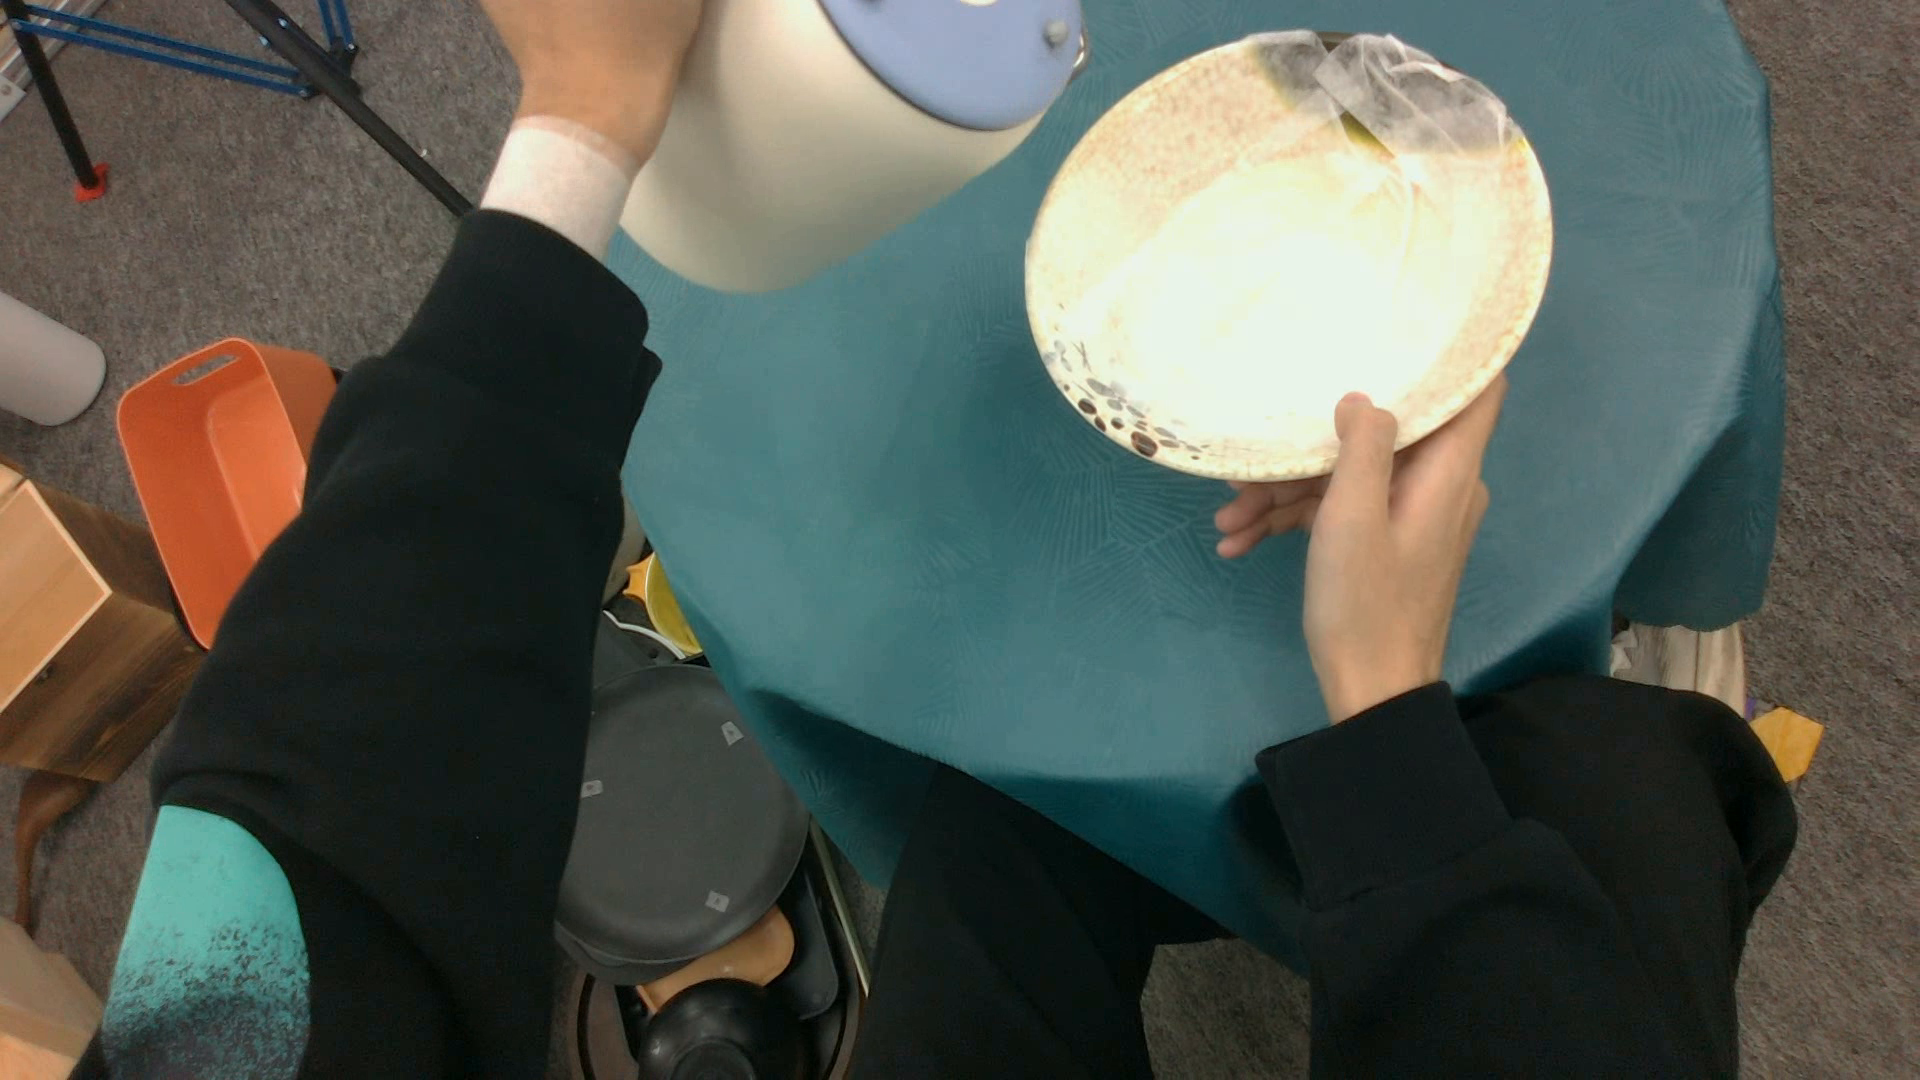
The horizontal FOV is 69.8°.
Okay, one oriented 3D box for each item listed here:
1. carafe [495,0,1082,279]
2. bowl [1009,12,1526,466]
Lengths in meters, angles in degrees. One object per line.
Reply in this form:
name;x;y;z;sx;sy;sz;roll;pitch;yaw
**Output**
carafe;-0.078;-0.192;0.511;0.182;0.191;0.132;-17;64;50
bowl;0.128;-0.115;0.584;0.203;0.078;0.204;-5;71;15
